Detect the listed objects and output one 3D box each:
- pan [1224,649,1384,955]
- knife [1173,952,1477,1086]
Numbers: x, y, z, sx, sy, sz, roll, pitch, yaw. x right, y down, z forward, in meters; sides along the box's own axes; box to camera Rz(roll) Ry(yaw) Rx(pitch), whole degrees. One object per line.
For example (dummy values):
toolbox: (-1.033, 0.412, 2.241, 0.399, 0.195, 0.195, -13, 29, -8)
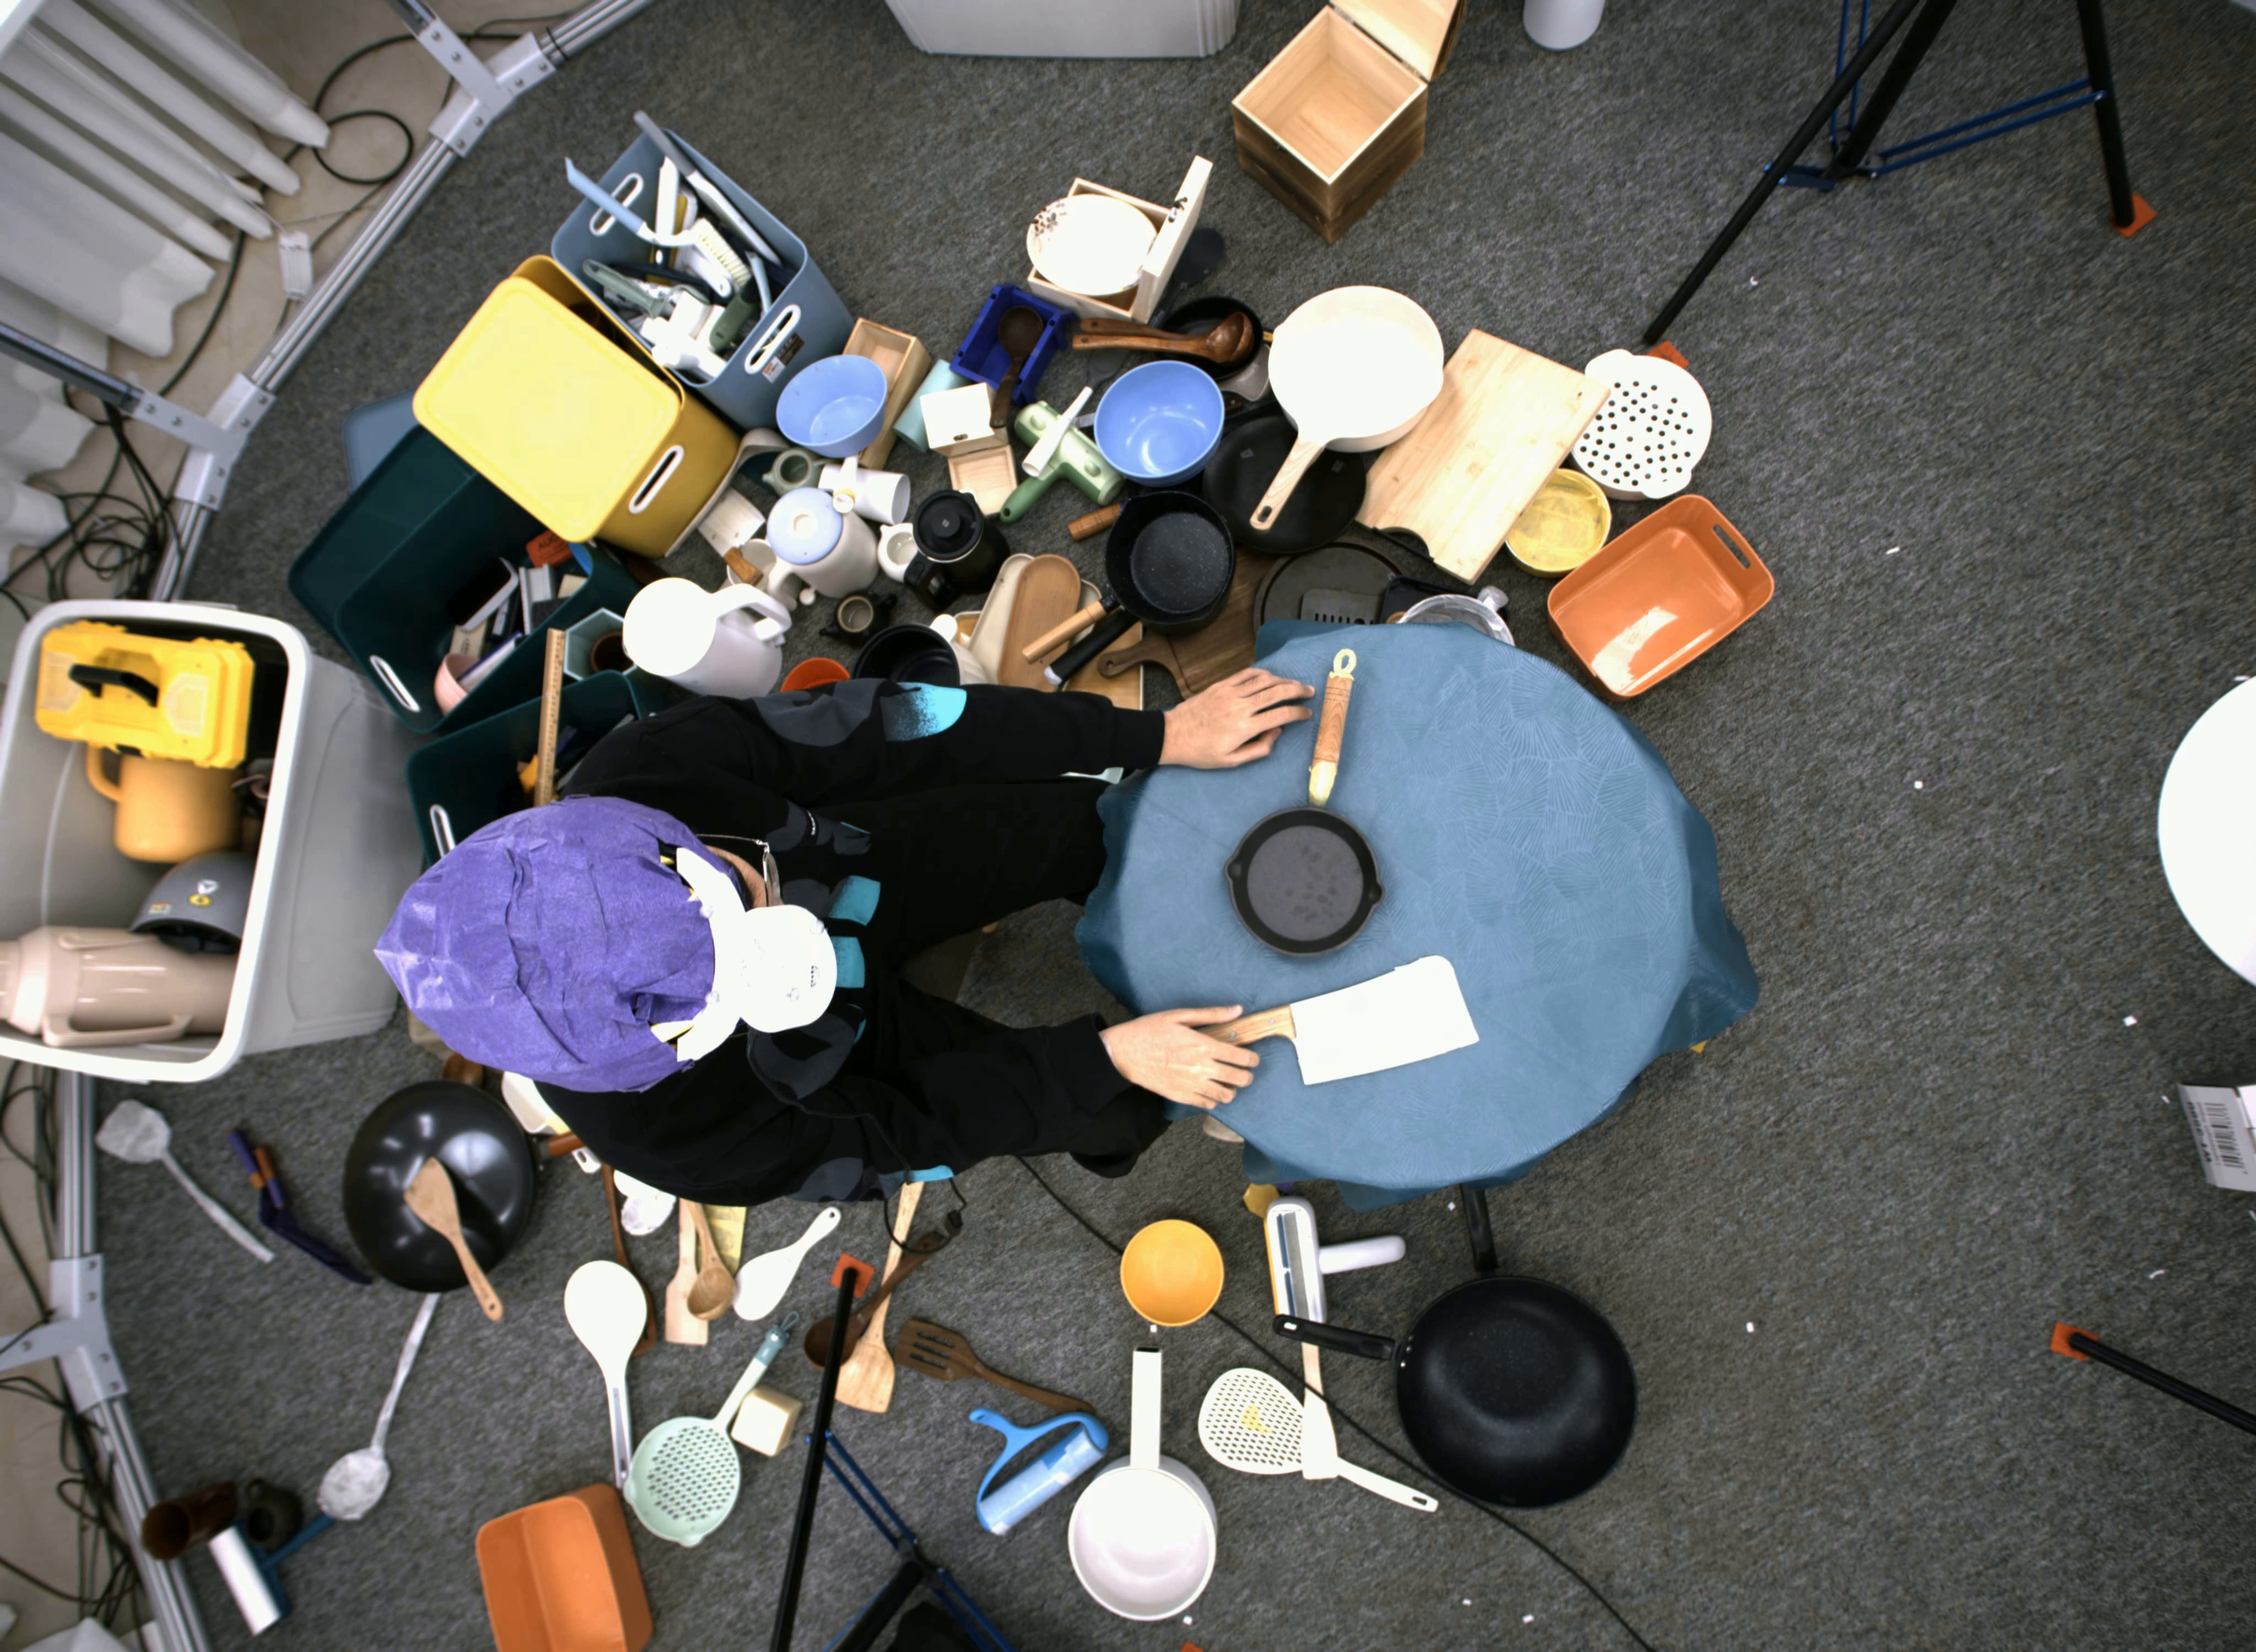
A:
pan: (0.201, -0.026, 1.453, 0.169, 0.049, 0.324, 11, 90, 12)
knife: (0.203, 0.212, 1.456, 0.317, 0.022, 0.113, -12, 85, 7)
